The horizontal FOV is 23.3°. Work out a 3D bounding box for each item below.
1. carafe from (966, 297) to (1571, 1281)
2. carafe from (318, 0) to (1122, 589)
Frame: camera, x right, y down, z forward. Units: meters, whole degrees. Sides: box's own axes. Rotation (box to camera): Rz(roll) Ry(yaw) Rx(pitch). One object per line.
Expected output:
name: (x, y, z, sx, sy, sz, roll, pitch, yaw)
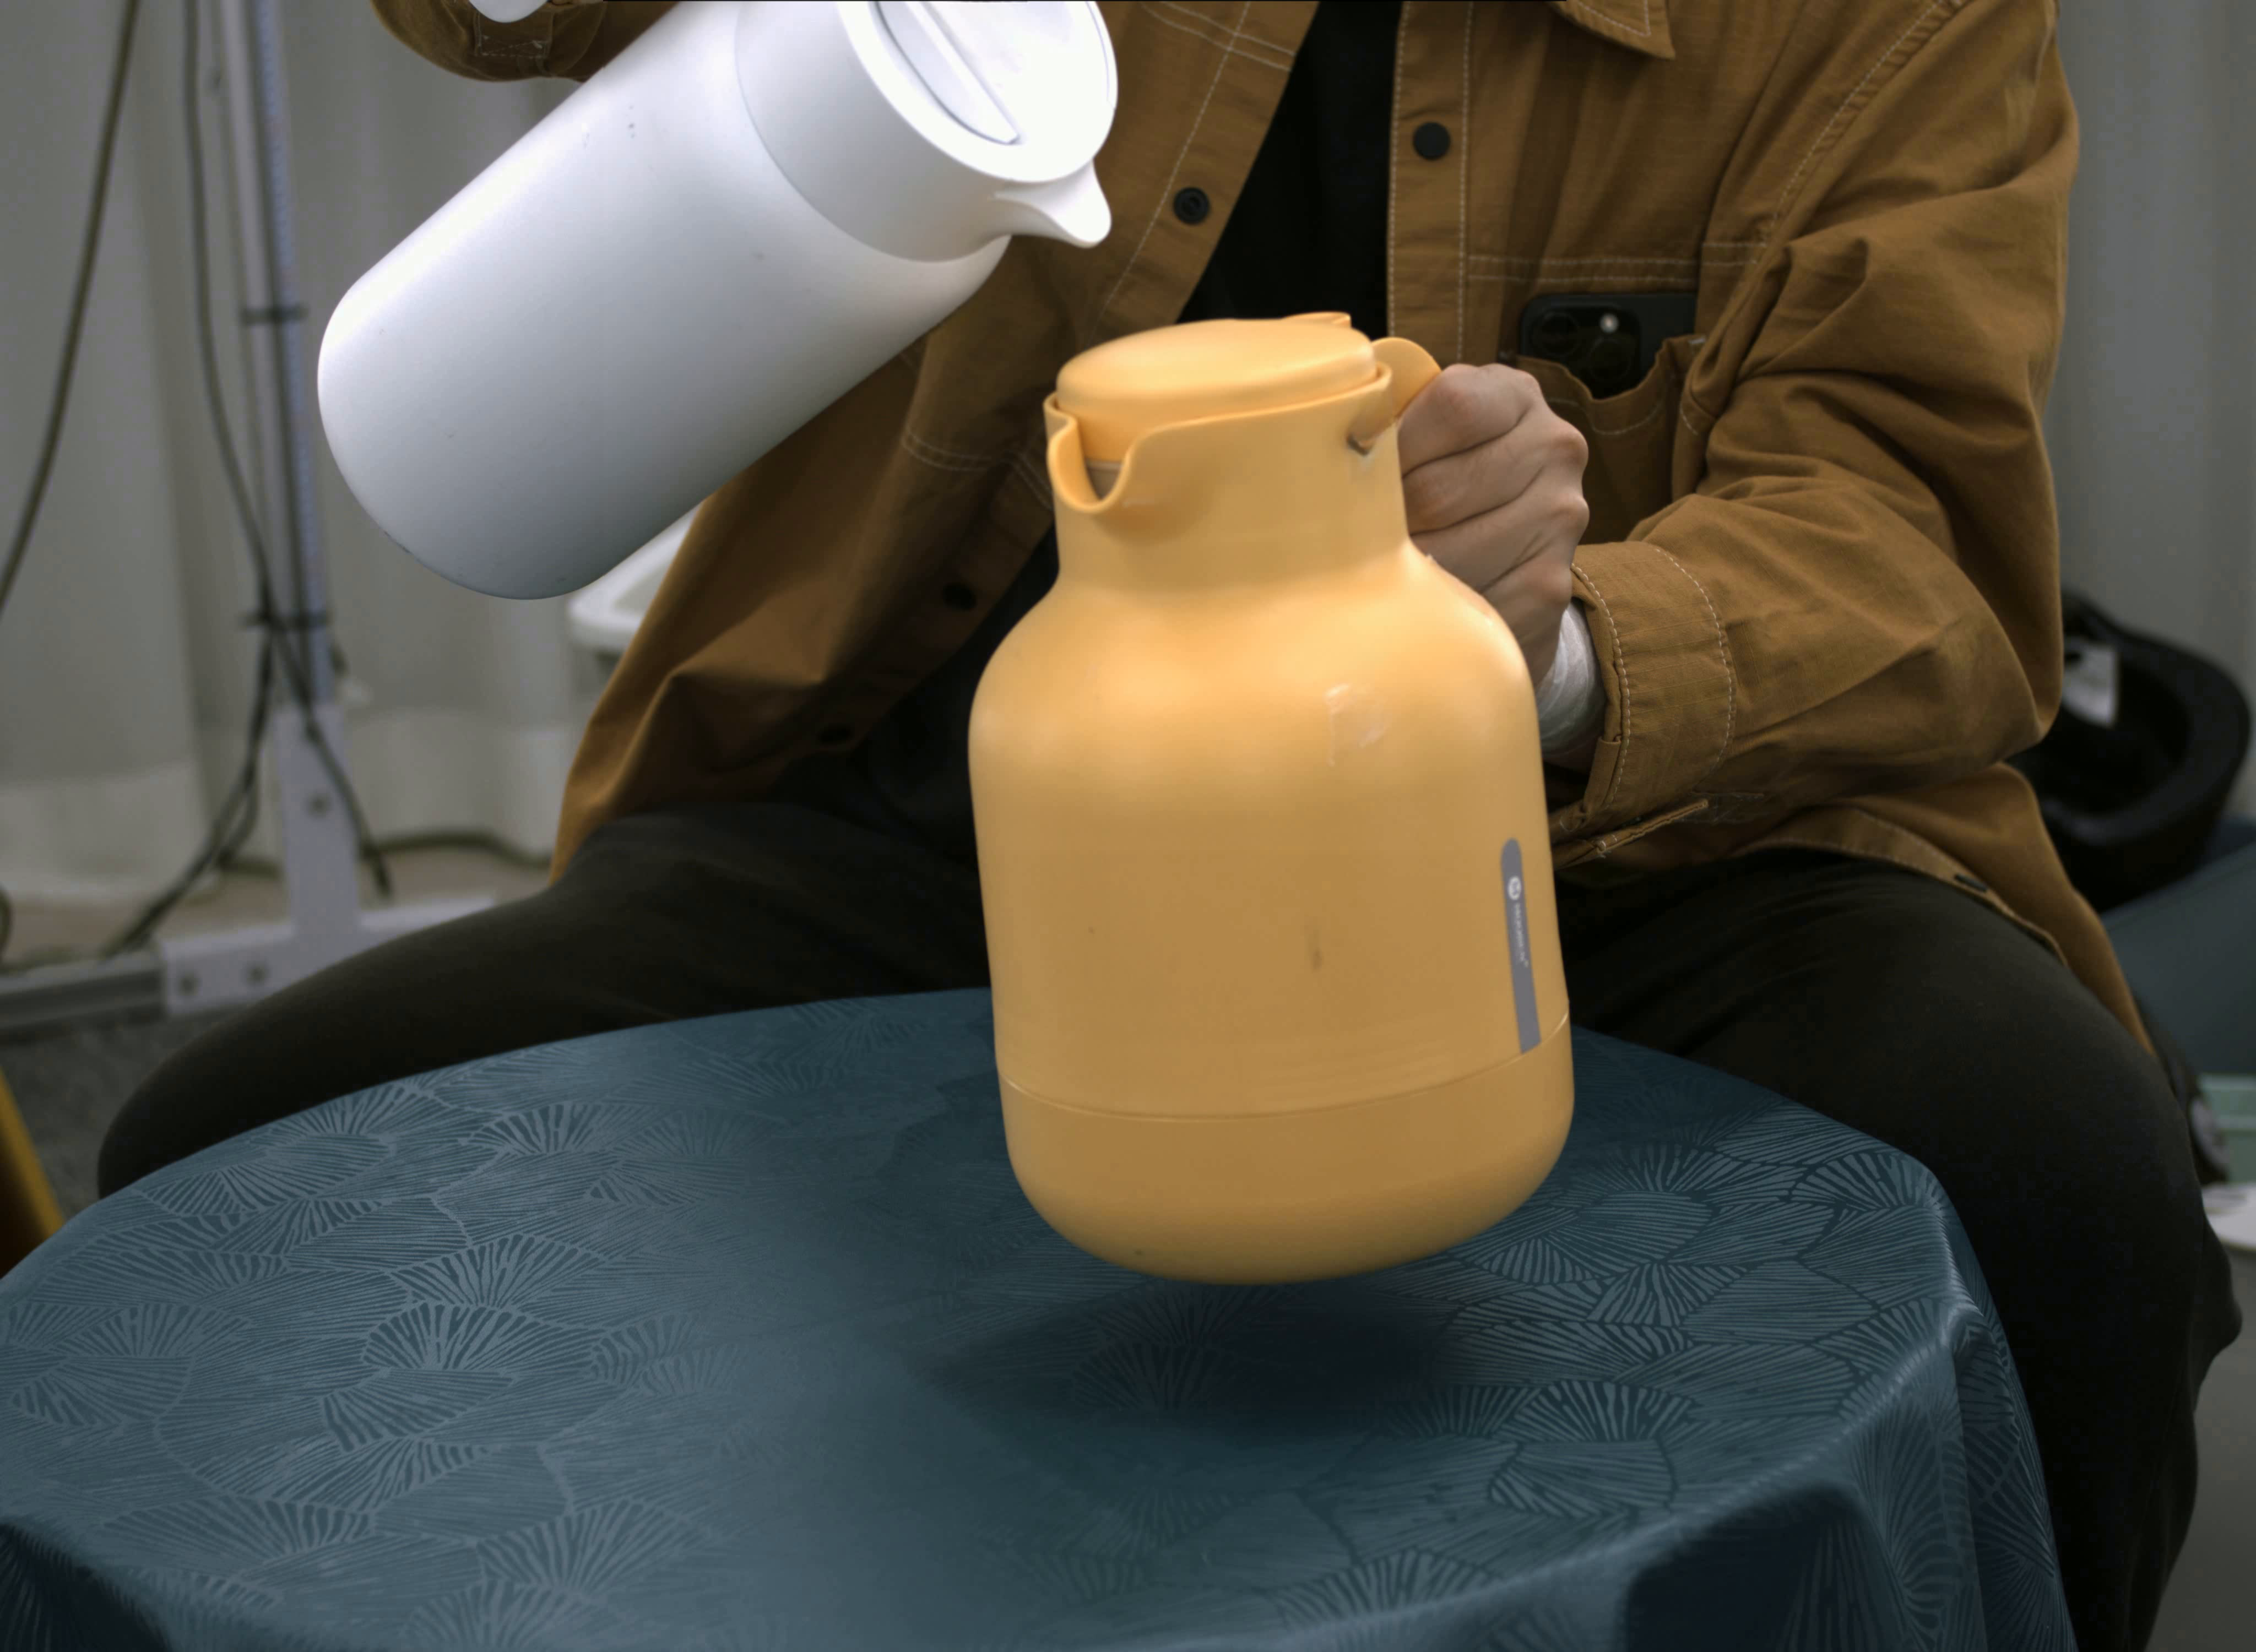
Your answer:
carafe: (0.048, -0.019, 1.549, 0.164, 0.259, 0.202, 6, 20, 34)
carafe: (-0.132, -0.187, 1.599, 0.267, 0.173, 0.124, -32, 4, 46)
